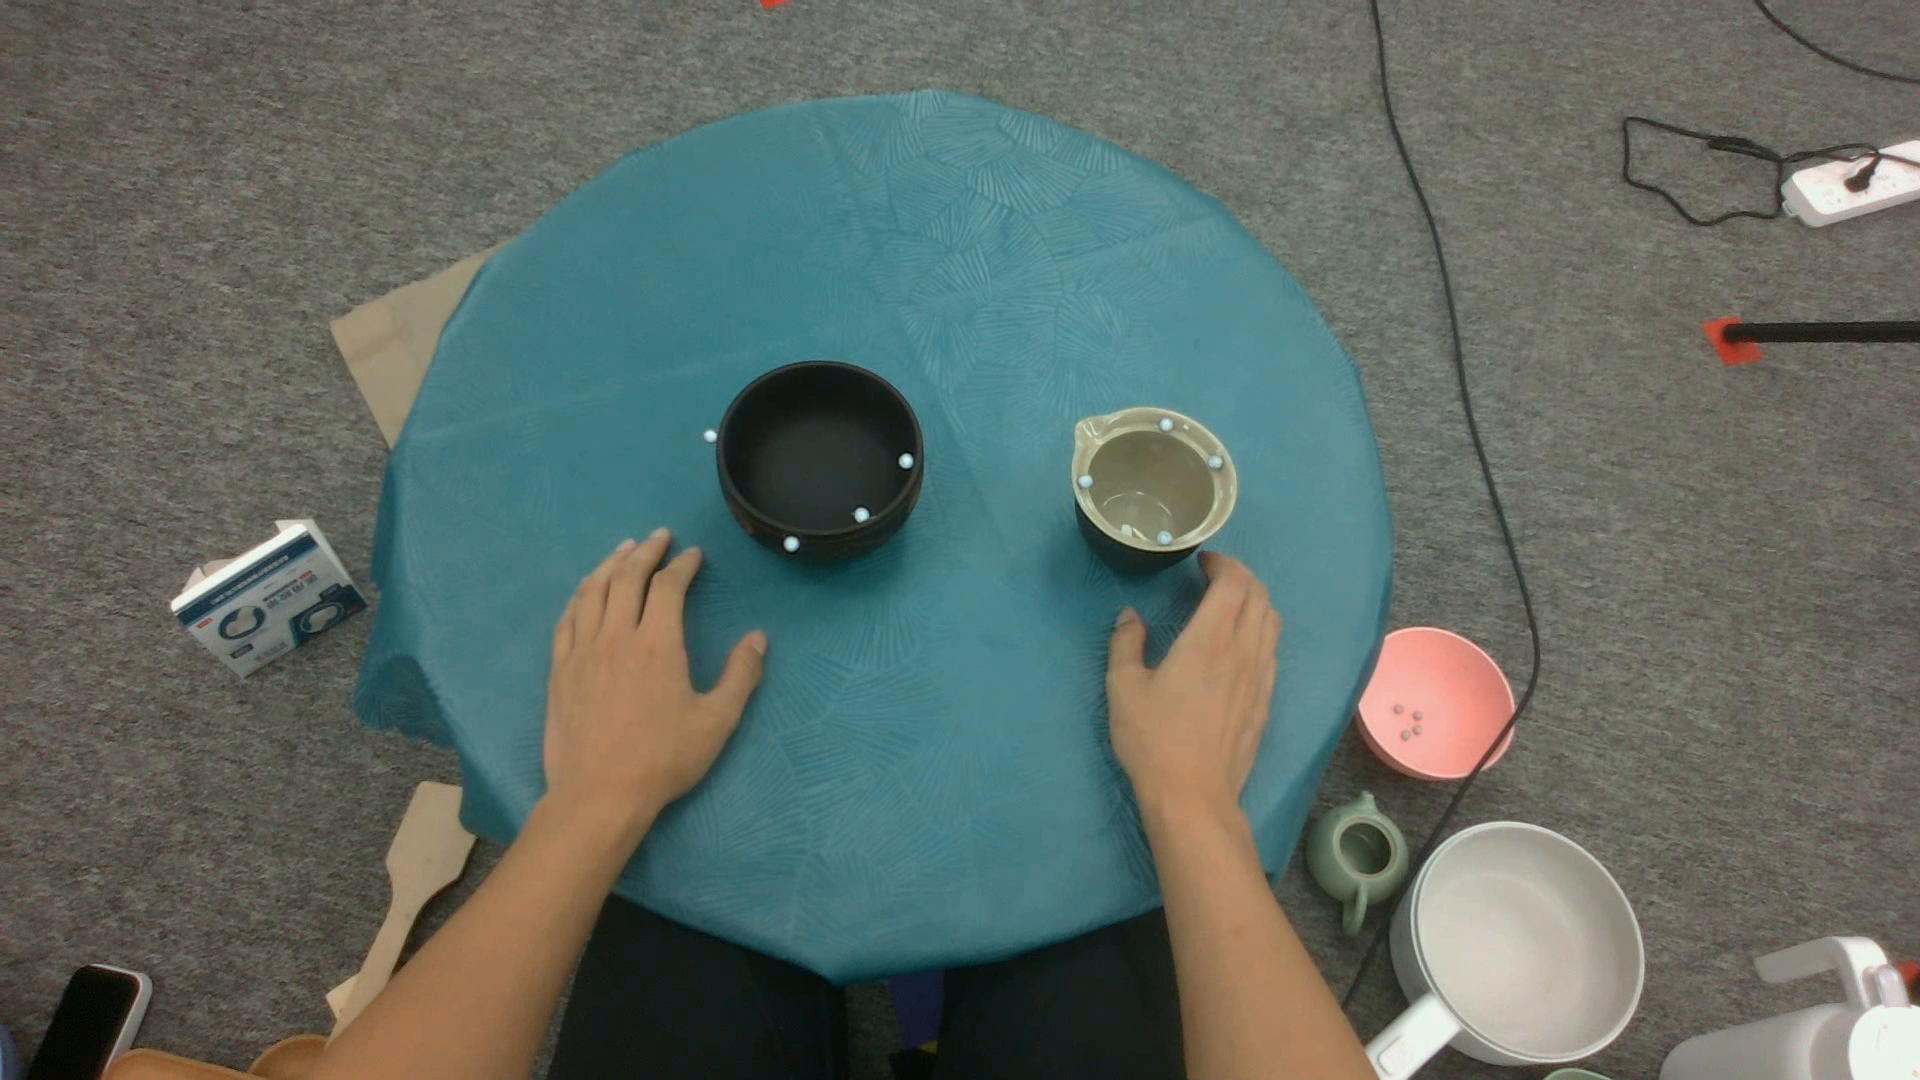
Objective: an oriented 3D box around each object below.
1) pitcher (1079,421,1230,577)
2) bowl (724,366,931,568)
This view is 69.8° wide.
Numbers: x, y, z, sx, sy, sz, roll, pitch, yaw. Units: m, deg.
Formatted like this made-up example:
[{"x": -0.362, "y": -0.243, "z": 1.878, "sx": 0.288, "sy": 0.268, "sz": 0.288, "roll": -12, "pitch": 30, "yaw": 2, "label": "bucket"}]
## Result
[{"x": 0.106, "y": -0.021, "z": 0.806, "sx": 0.084, "sy": 0.071, "sz": 0.096, "roll": -40, "pitch": 72, "yaw": -18, "label": "pitcher"}, {"x": -0.077, "y": -0.036, "z": 0.806, "sx": 0.118, "sy": 0.069, "sz": 0.118, "roll": 2, "pitch": 61, "yaw": -3, "label": "bowl"}]
